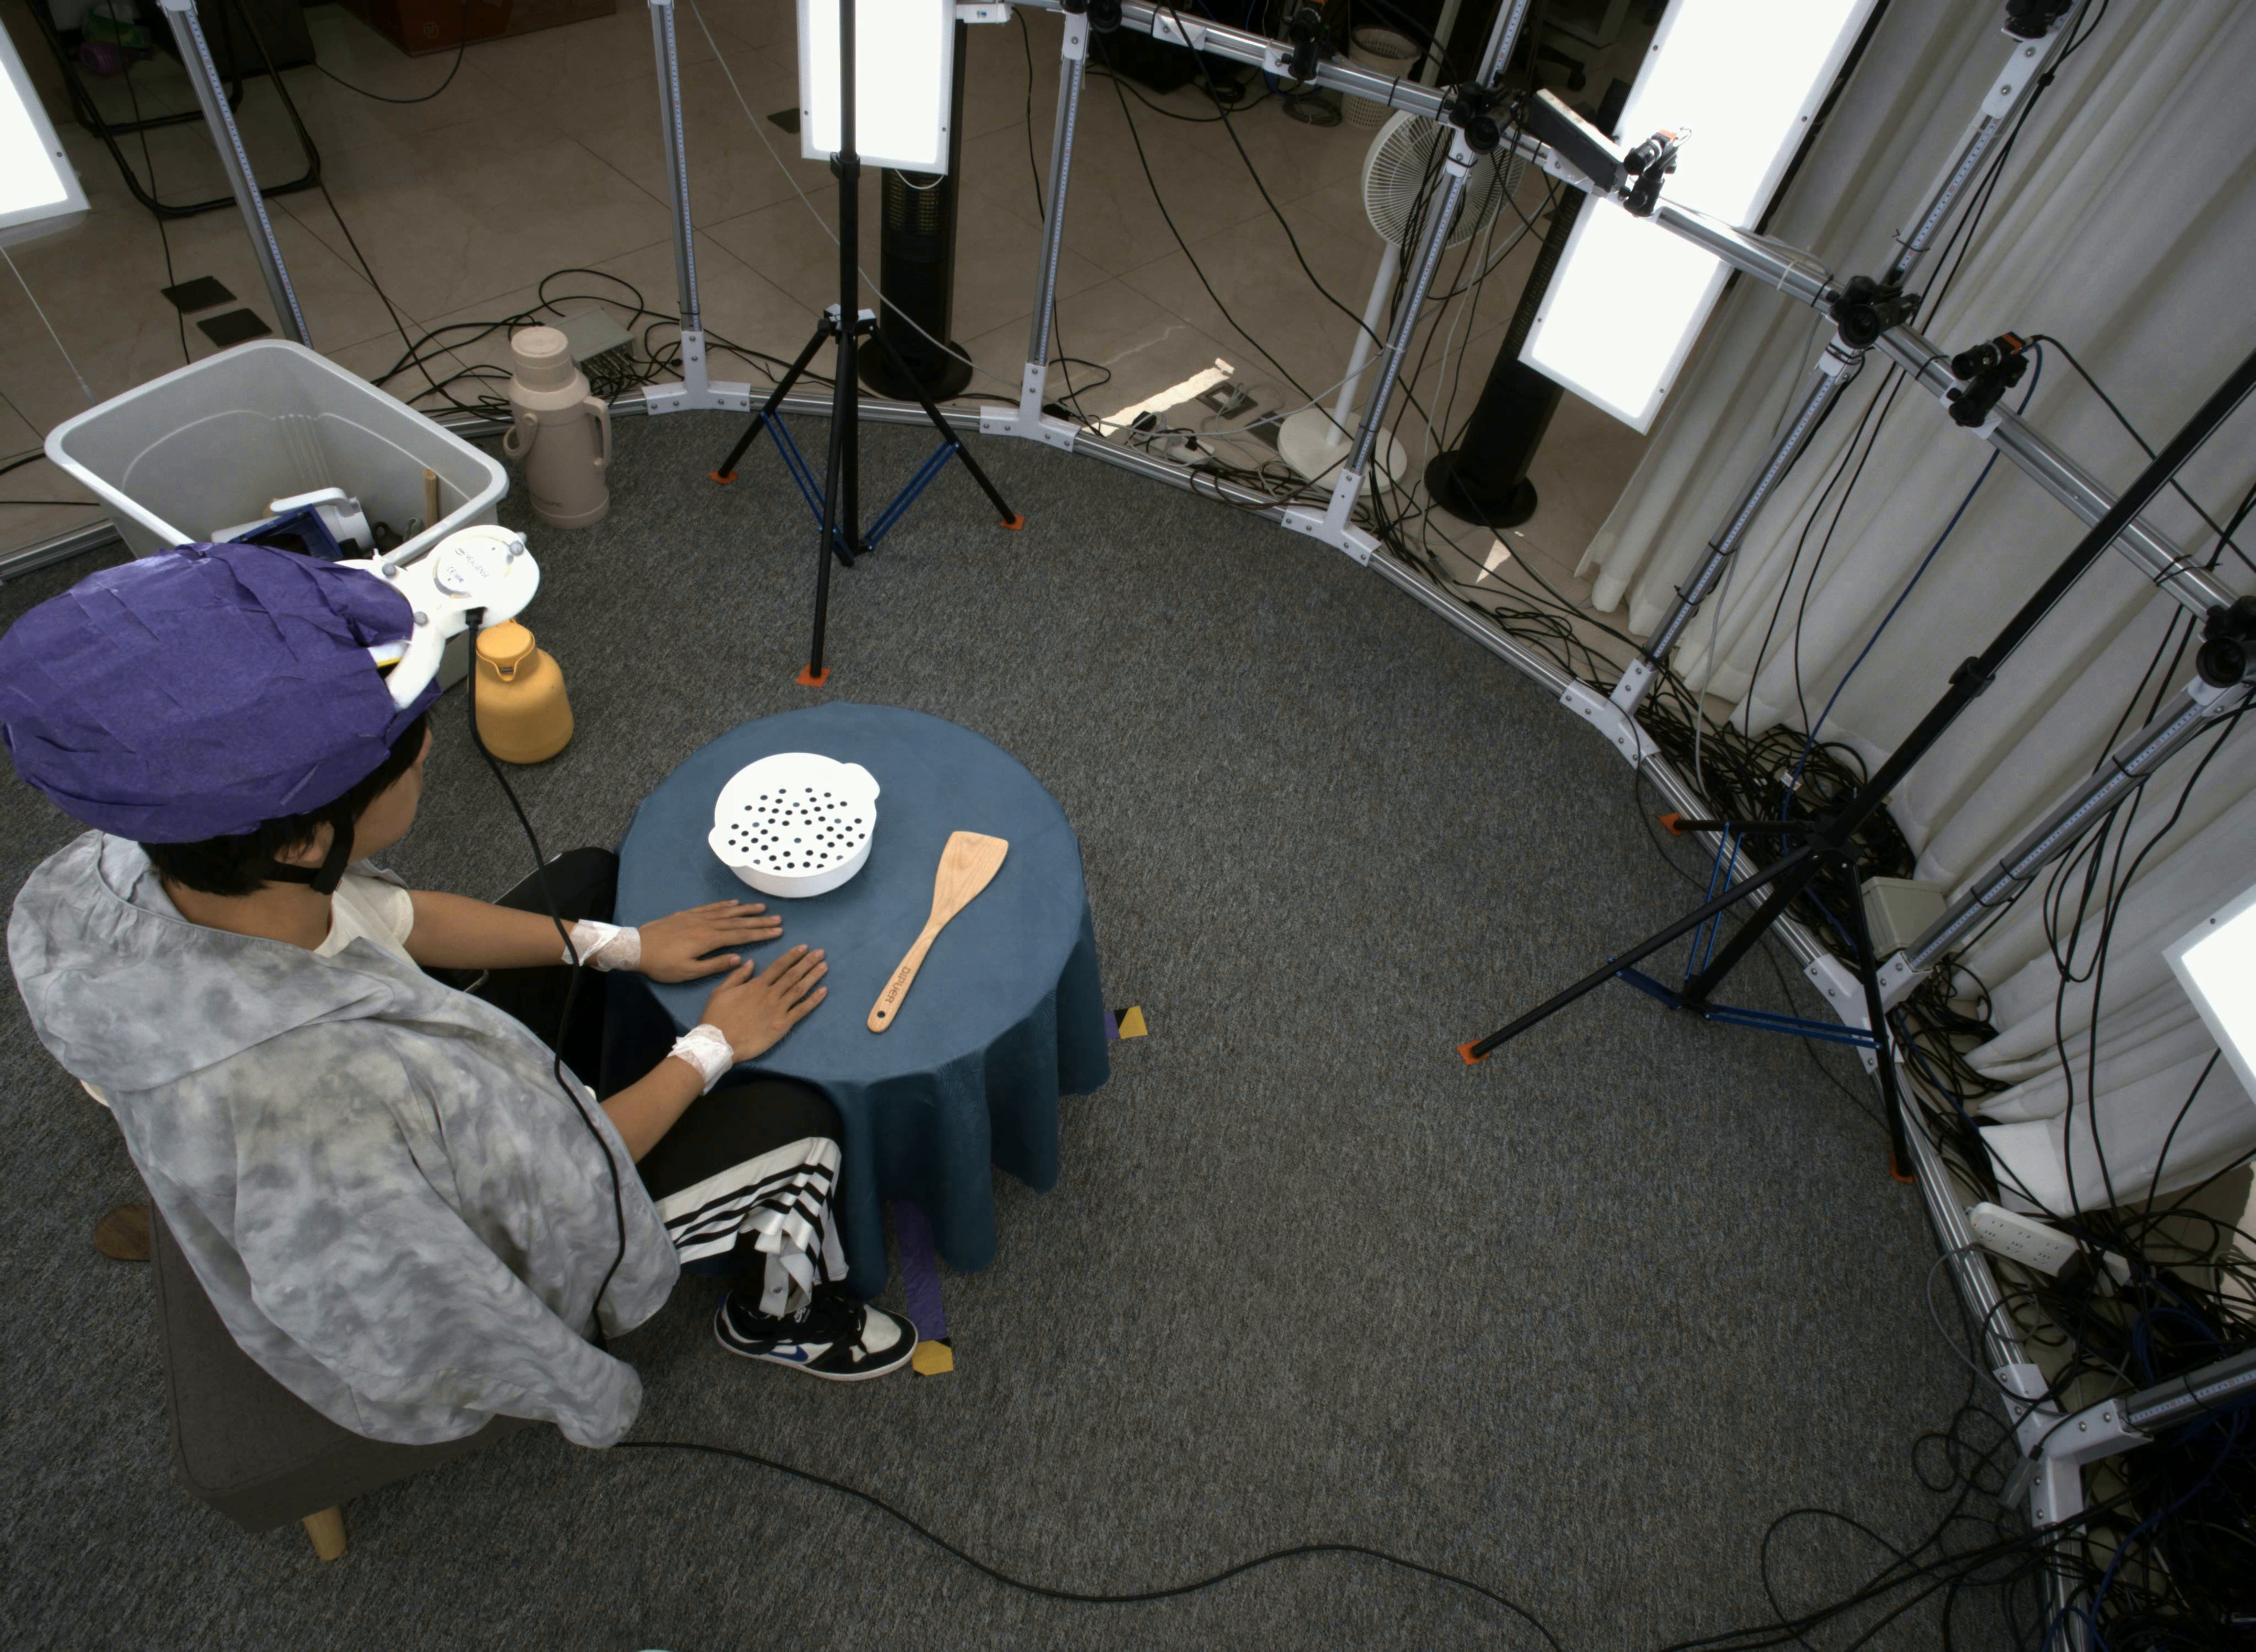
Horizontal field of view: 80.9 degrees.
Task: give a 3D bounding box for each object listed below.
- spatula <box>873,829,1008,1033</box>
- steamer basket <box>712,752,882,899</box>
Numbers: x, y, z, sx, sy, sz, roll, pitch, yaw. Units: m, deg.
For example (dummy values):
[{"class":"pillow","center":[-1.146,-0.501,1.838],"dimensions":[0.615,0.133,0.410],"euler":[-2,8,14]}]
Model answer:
[{"class":"spatula","center":[-0.248,0.126,1.665],"dimensions":[0.079,0.017,0.325],"euler":[22,52,4]},{"class":"steamer basket","center":[-0.425,-0.001,1.685],"dimensions":[0.231,0.071,0.197],"euler":[-31,64,-29]}]
